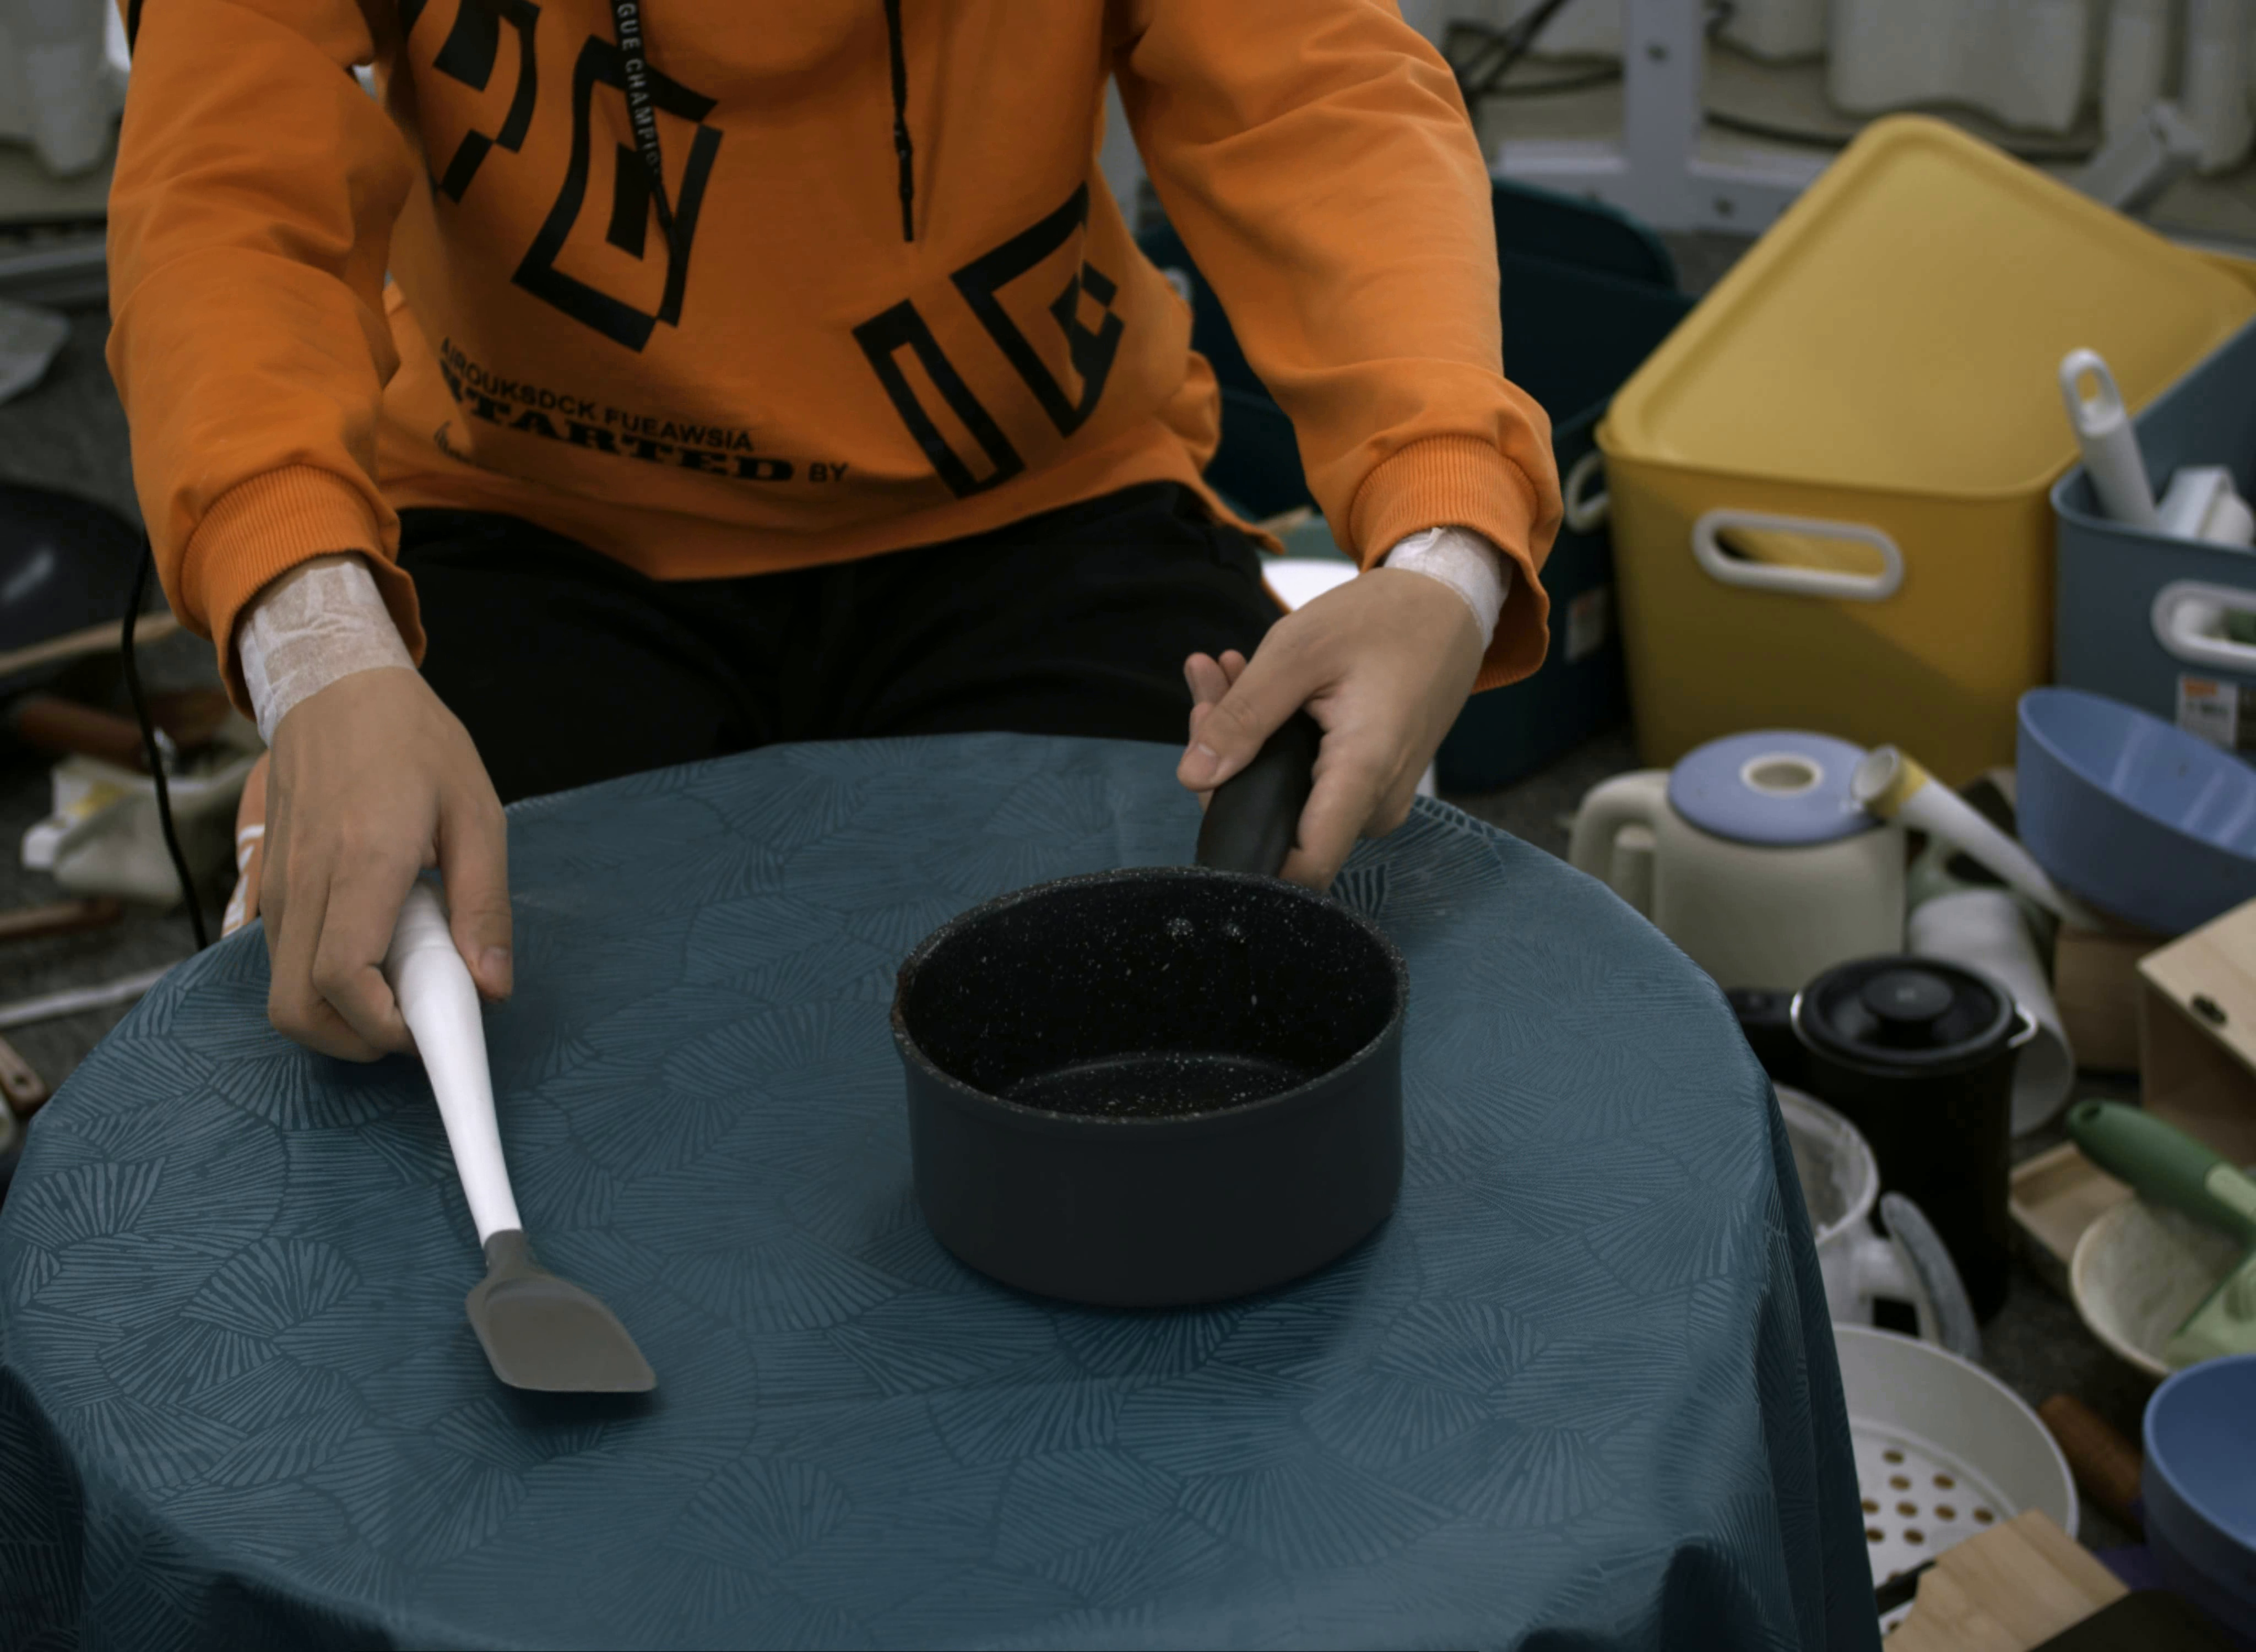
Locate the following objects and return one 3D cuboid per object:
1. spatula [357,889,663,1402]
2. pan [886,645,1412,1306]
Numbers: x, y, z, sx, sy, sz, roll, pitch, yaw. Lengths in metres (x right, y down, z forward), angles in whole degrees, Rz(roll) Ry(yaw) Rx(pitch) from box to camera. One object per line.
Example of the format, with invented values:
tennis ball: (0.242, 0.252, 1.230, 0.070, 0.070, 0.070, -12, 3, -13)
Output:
spatula: (-0.212, 0.110, 1.858, 0.058, 0.032, 0.291, 7, 28, -24)
pan: (0.031, 0.047, 1.914, 0.171, 0.085, 0.334, 6, 29, 16)
